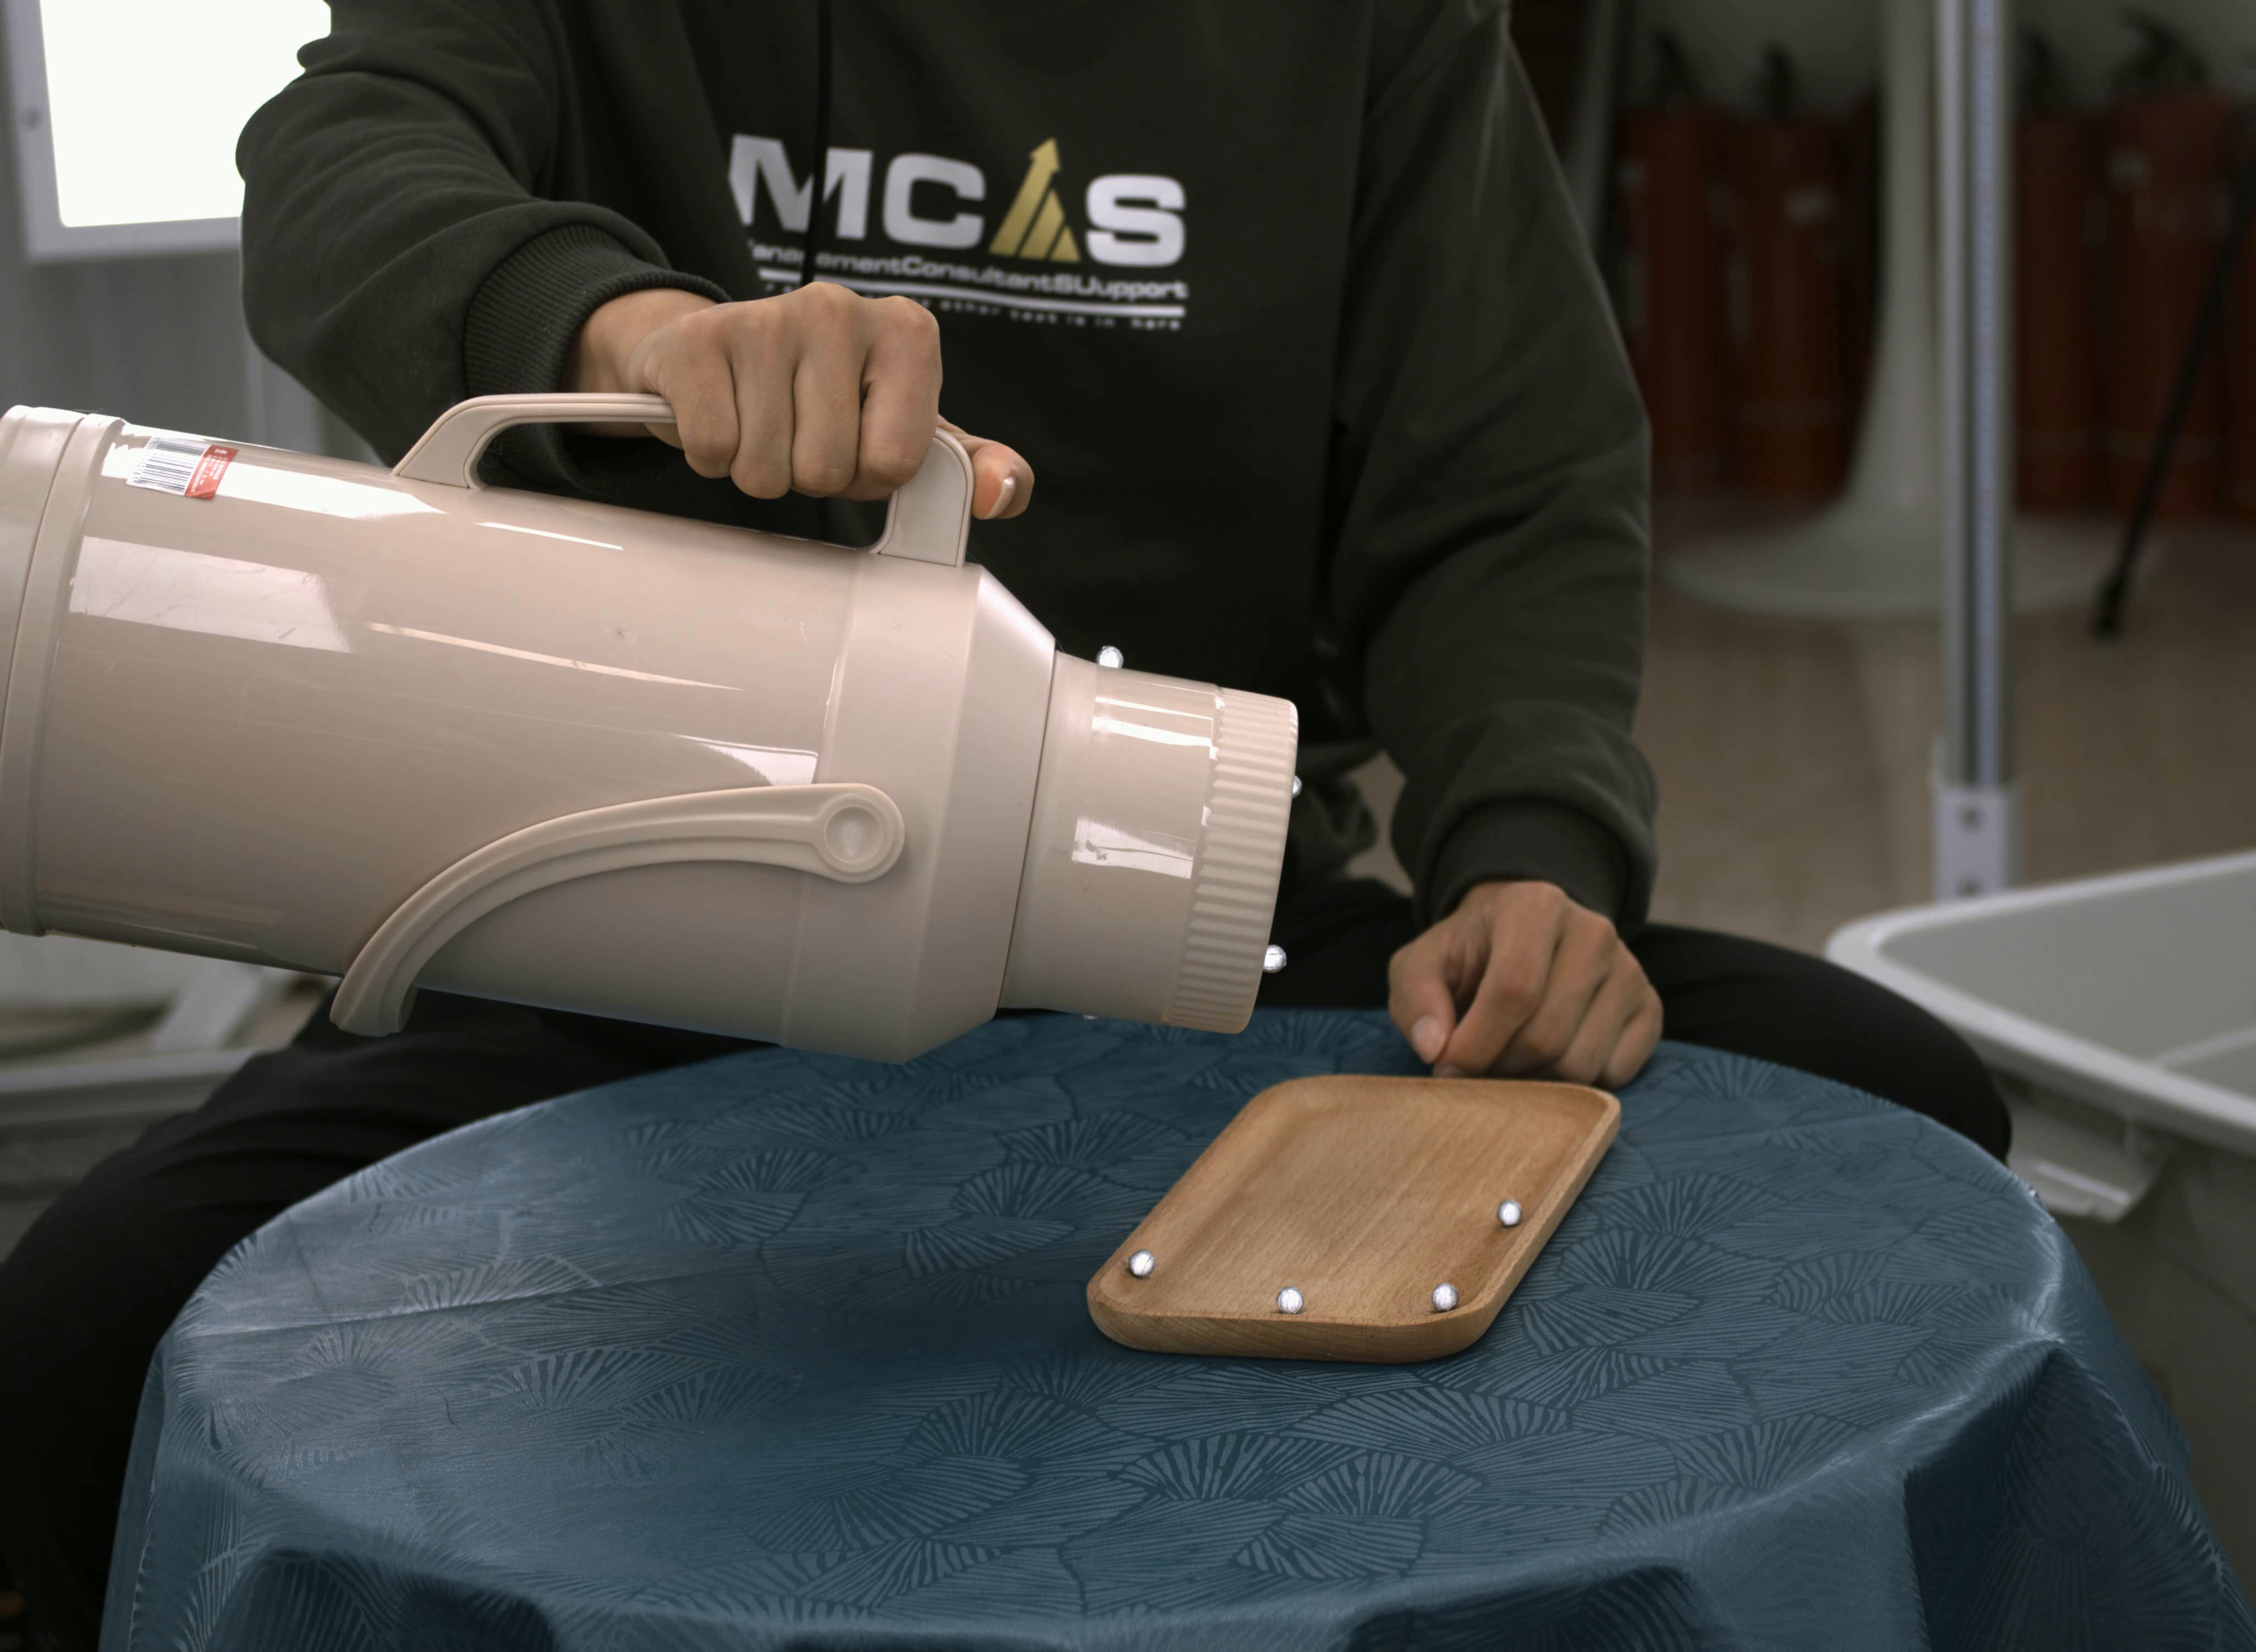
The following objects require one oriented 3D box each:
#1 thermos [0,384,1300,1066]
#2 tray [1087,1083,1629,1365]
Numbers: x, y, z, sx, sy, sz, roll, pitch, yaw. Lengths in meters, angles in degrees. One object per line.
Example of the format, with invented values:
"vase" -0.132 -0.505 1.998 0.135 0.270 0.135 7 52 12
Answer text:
"thermos" -0.150 -0.034 1.644 0.401 0.209 0.175 9 6 1
"tray" 0.077 0.124 1.712 0.130 0.023 0.248 3 14 18
